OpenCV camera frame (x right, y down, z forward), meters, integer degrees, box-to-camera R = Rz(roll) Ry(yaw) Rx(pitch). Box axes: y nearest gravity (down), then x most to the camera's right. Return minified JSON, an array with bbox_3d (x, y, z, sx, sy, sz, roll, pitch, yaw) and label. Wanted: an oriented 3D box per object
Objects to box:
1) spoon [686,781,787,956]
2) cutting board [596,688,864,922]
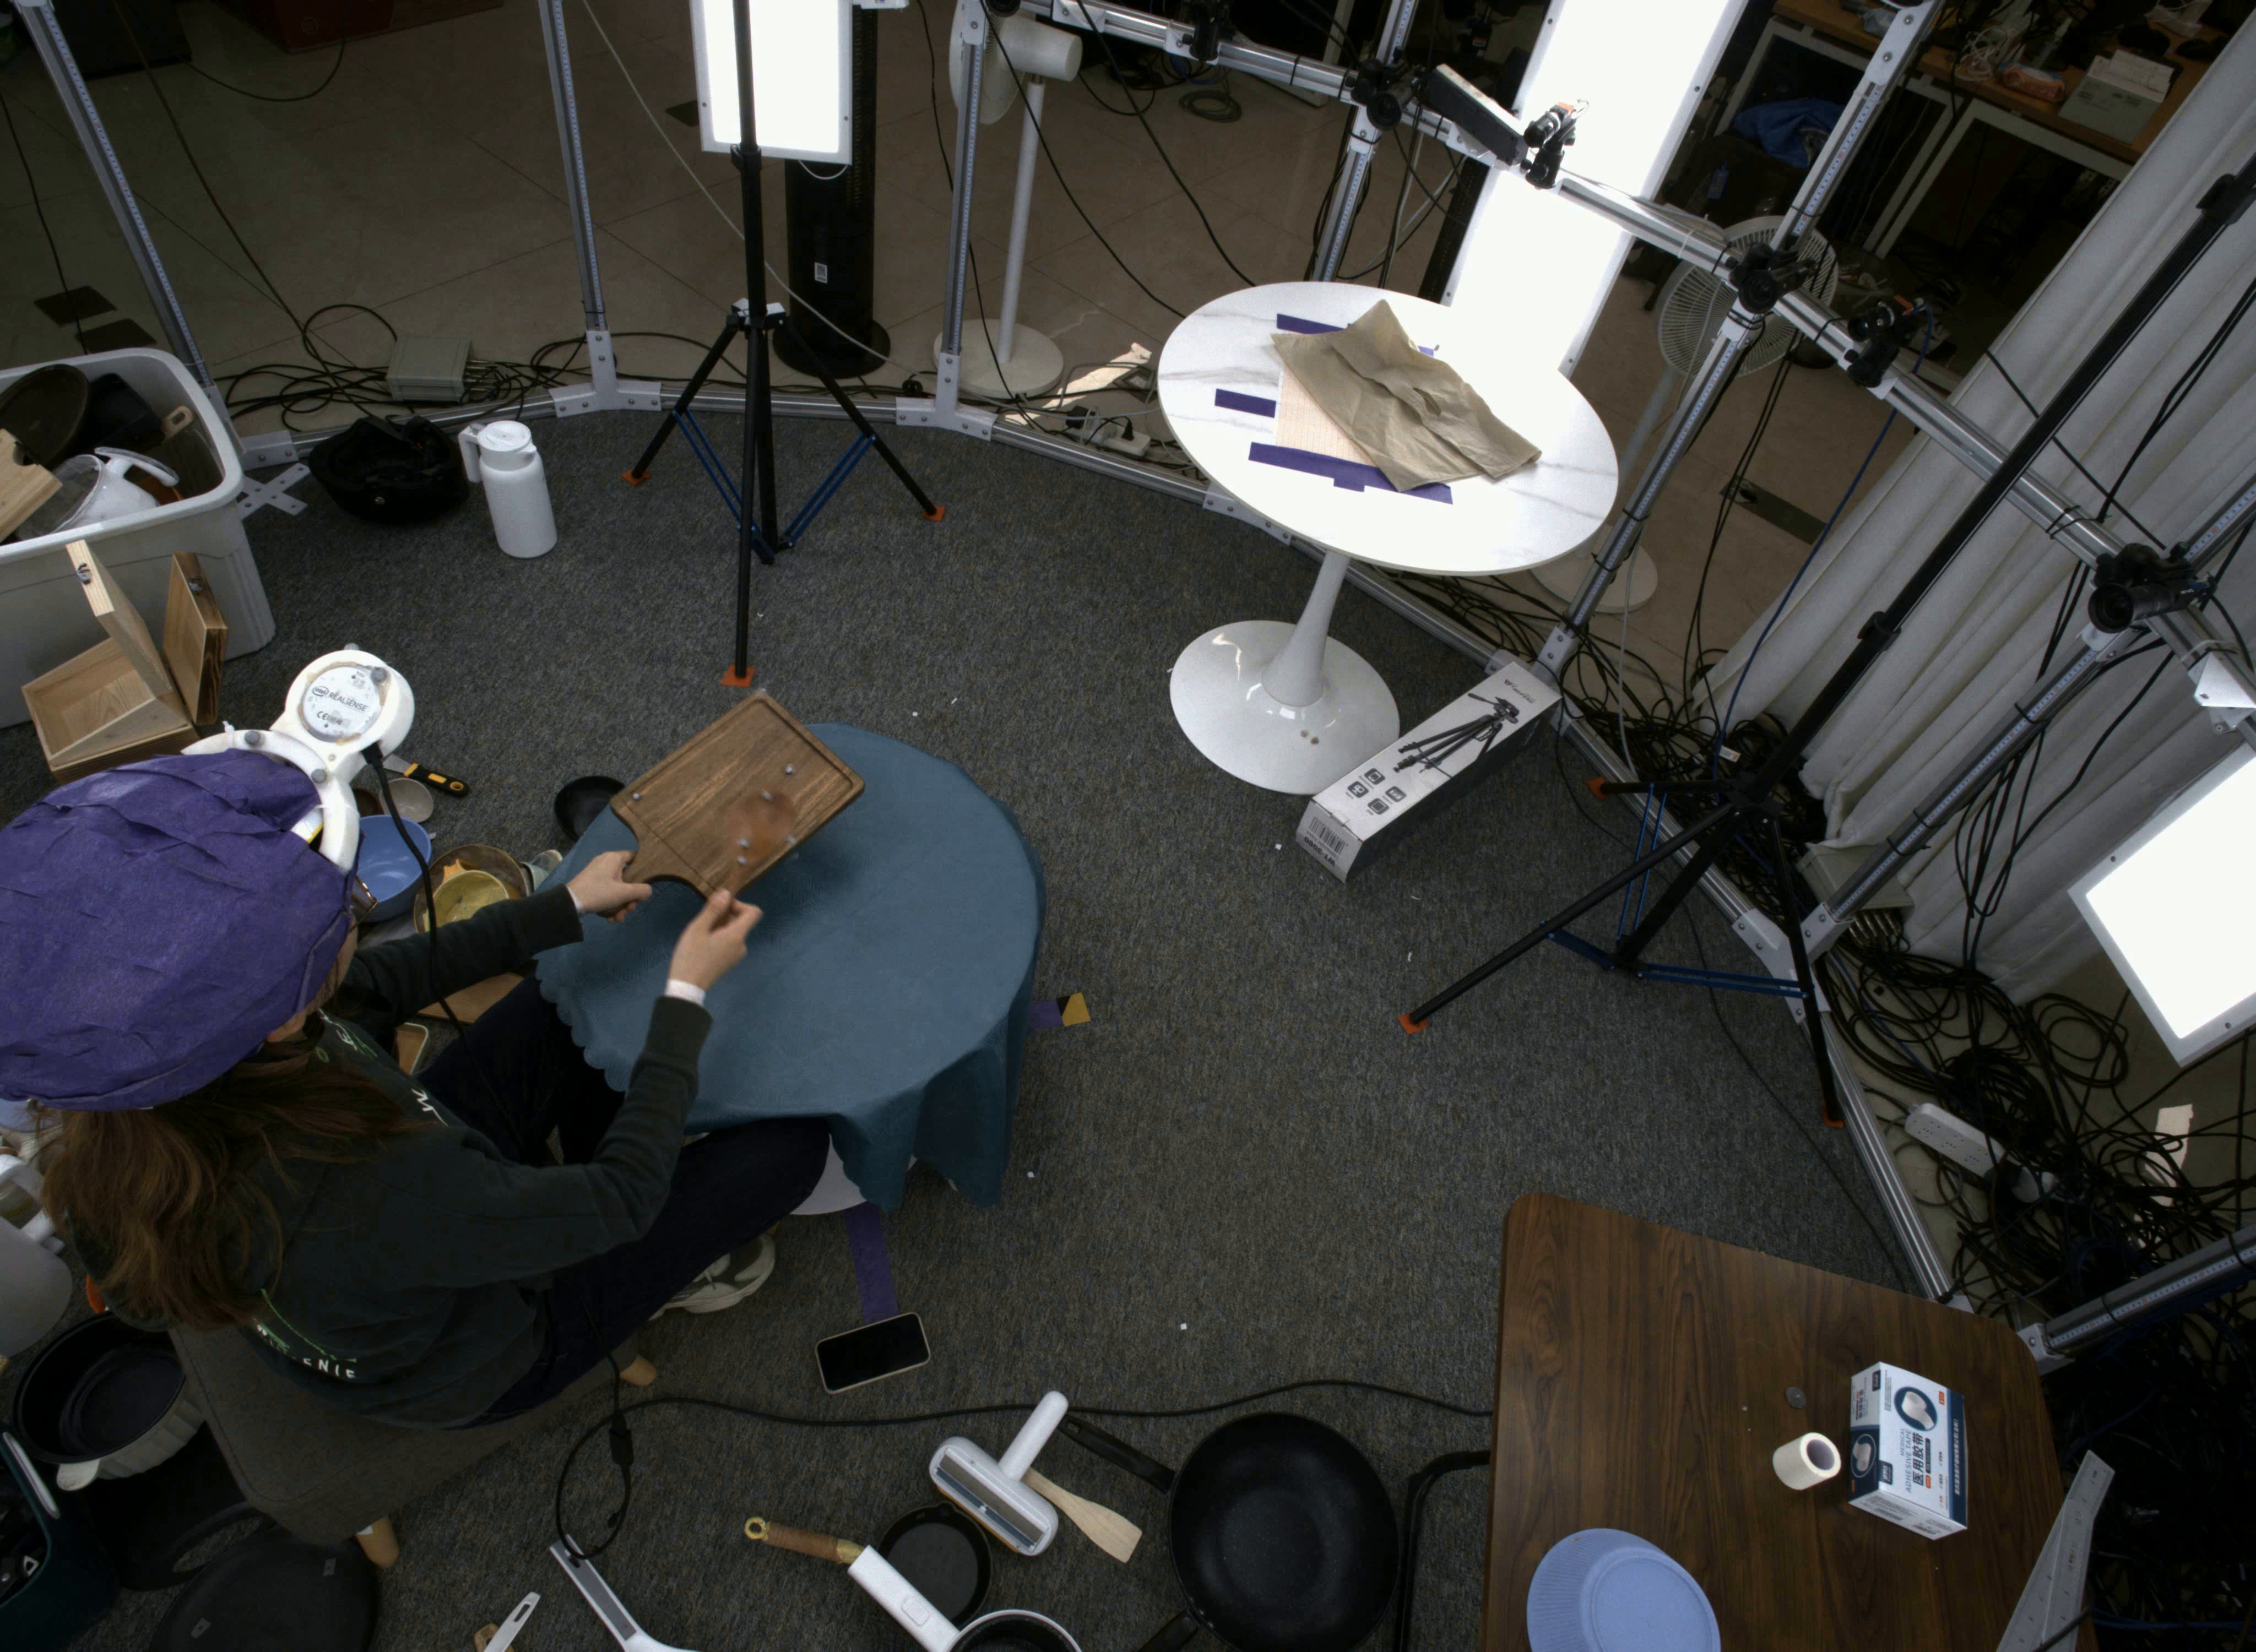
[{"bbox_3d":[-0.442,0.044,1.437,0.074,0.017,0.214,16,64,2],"label":"spoon"},{"bbox_3d":[-0.514,-0.008,1.582,0.199,0.023,0.352,43,60,4],"label":"cutting board"}]
